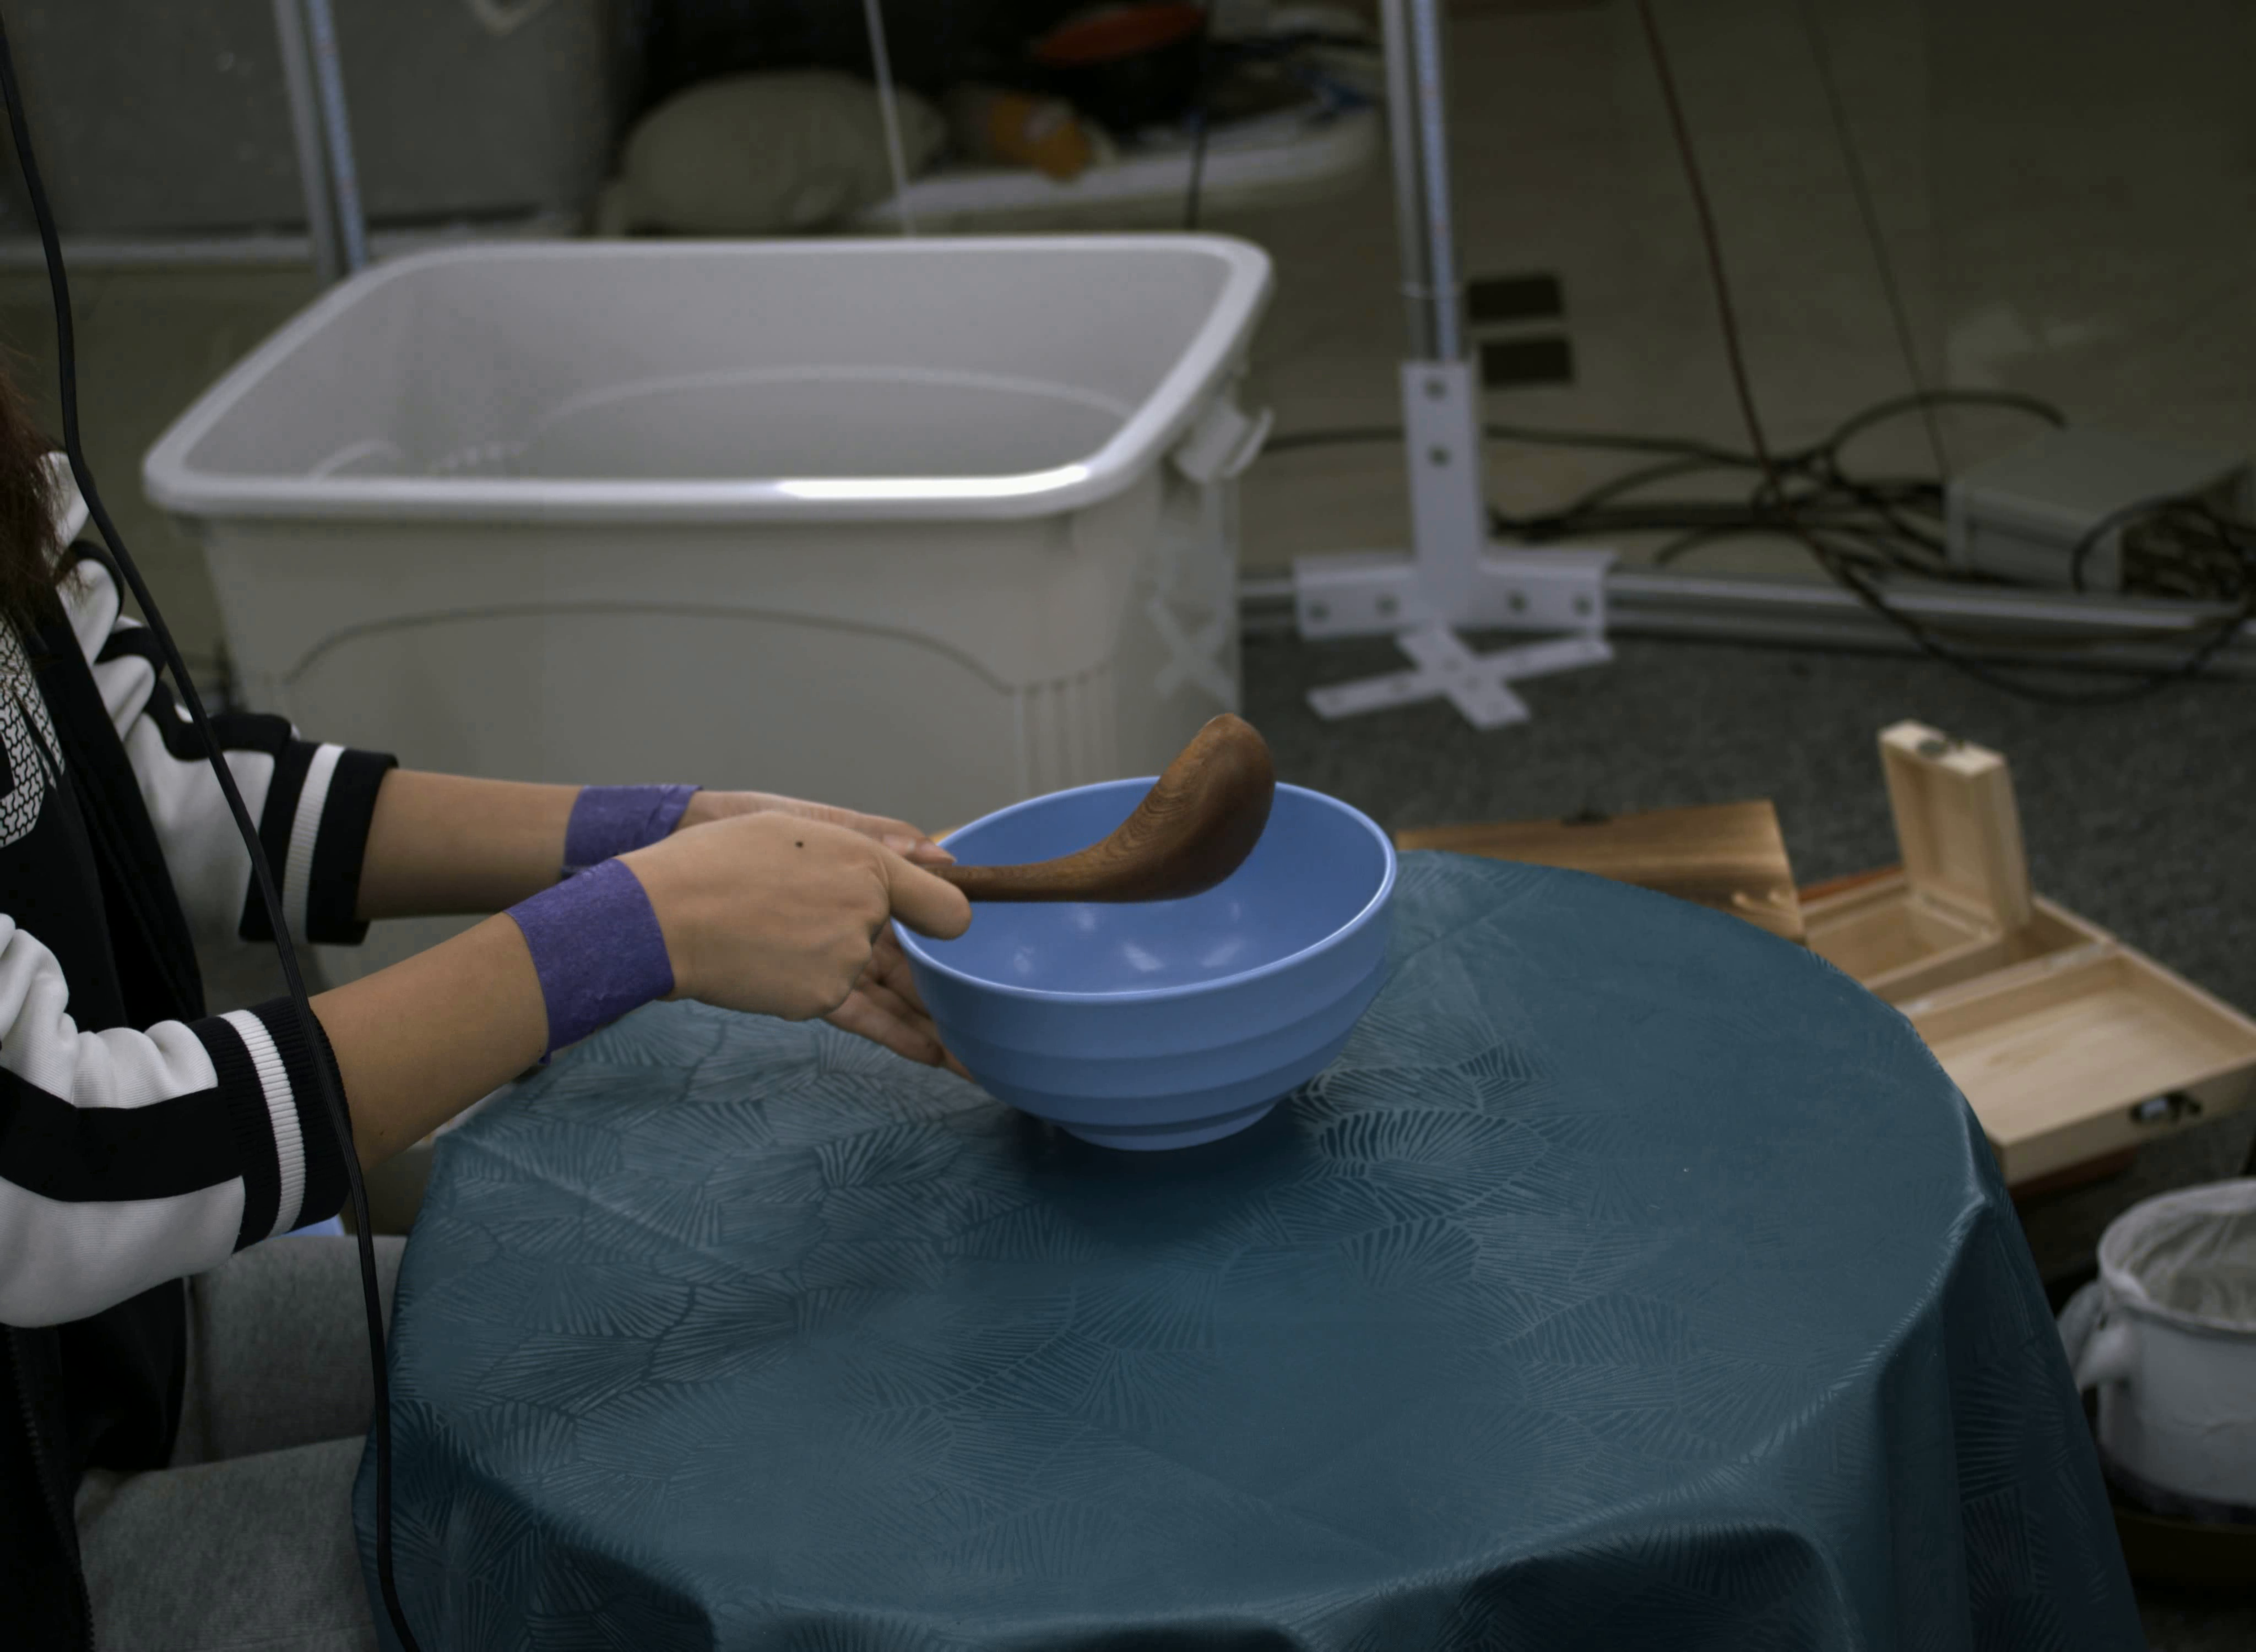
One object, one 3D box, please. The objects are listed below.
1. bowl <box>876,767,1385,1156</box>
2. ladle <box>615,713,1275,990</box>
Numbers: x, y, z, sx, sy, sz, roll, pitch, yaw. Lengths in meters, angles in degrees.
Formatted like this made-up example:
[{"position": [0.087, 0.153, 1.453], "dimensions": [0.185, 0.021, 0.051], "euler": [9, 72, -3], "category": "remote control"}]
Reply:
[{"position": [0.003, 0.064, 2.197], "dimensions": [0.196, 0.097, 0.193], "euler": [-2, 30, 1], "category": "bowl"}, {"position": [-0.067, 0.012, 2.092], "dimensions": [0.259, 0.078, 0.064], "euler": [-10, 44, -12], "category": "ladle"}]
